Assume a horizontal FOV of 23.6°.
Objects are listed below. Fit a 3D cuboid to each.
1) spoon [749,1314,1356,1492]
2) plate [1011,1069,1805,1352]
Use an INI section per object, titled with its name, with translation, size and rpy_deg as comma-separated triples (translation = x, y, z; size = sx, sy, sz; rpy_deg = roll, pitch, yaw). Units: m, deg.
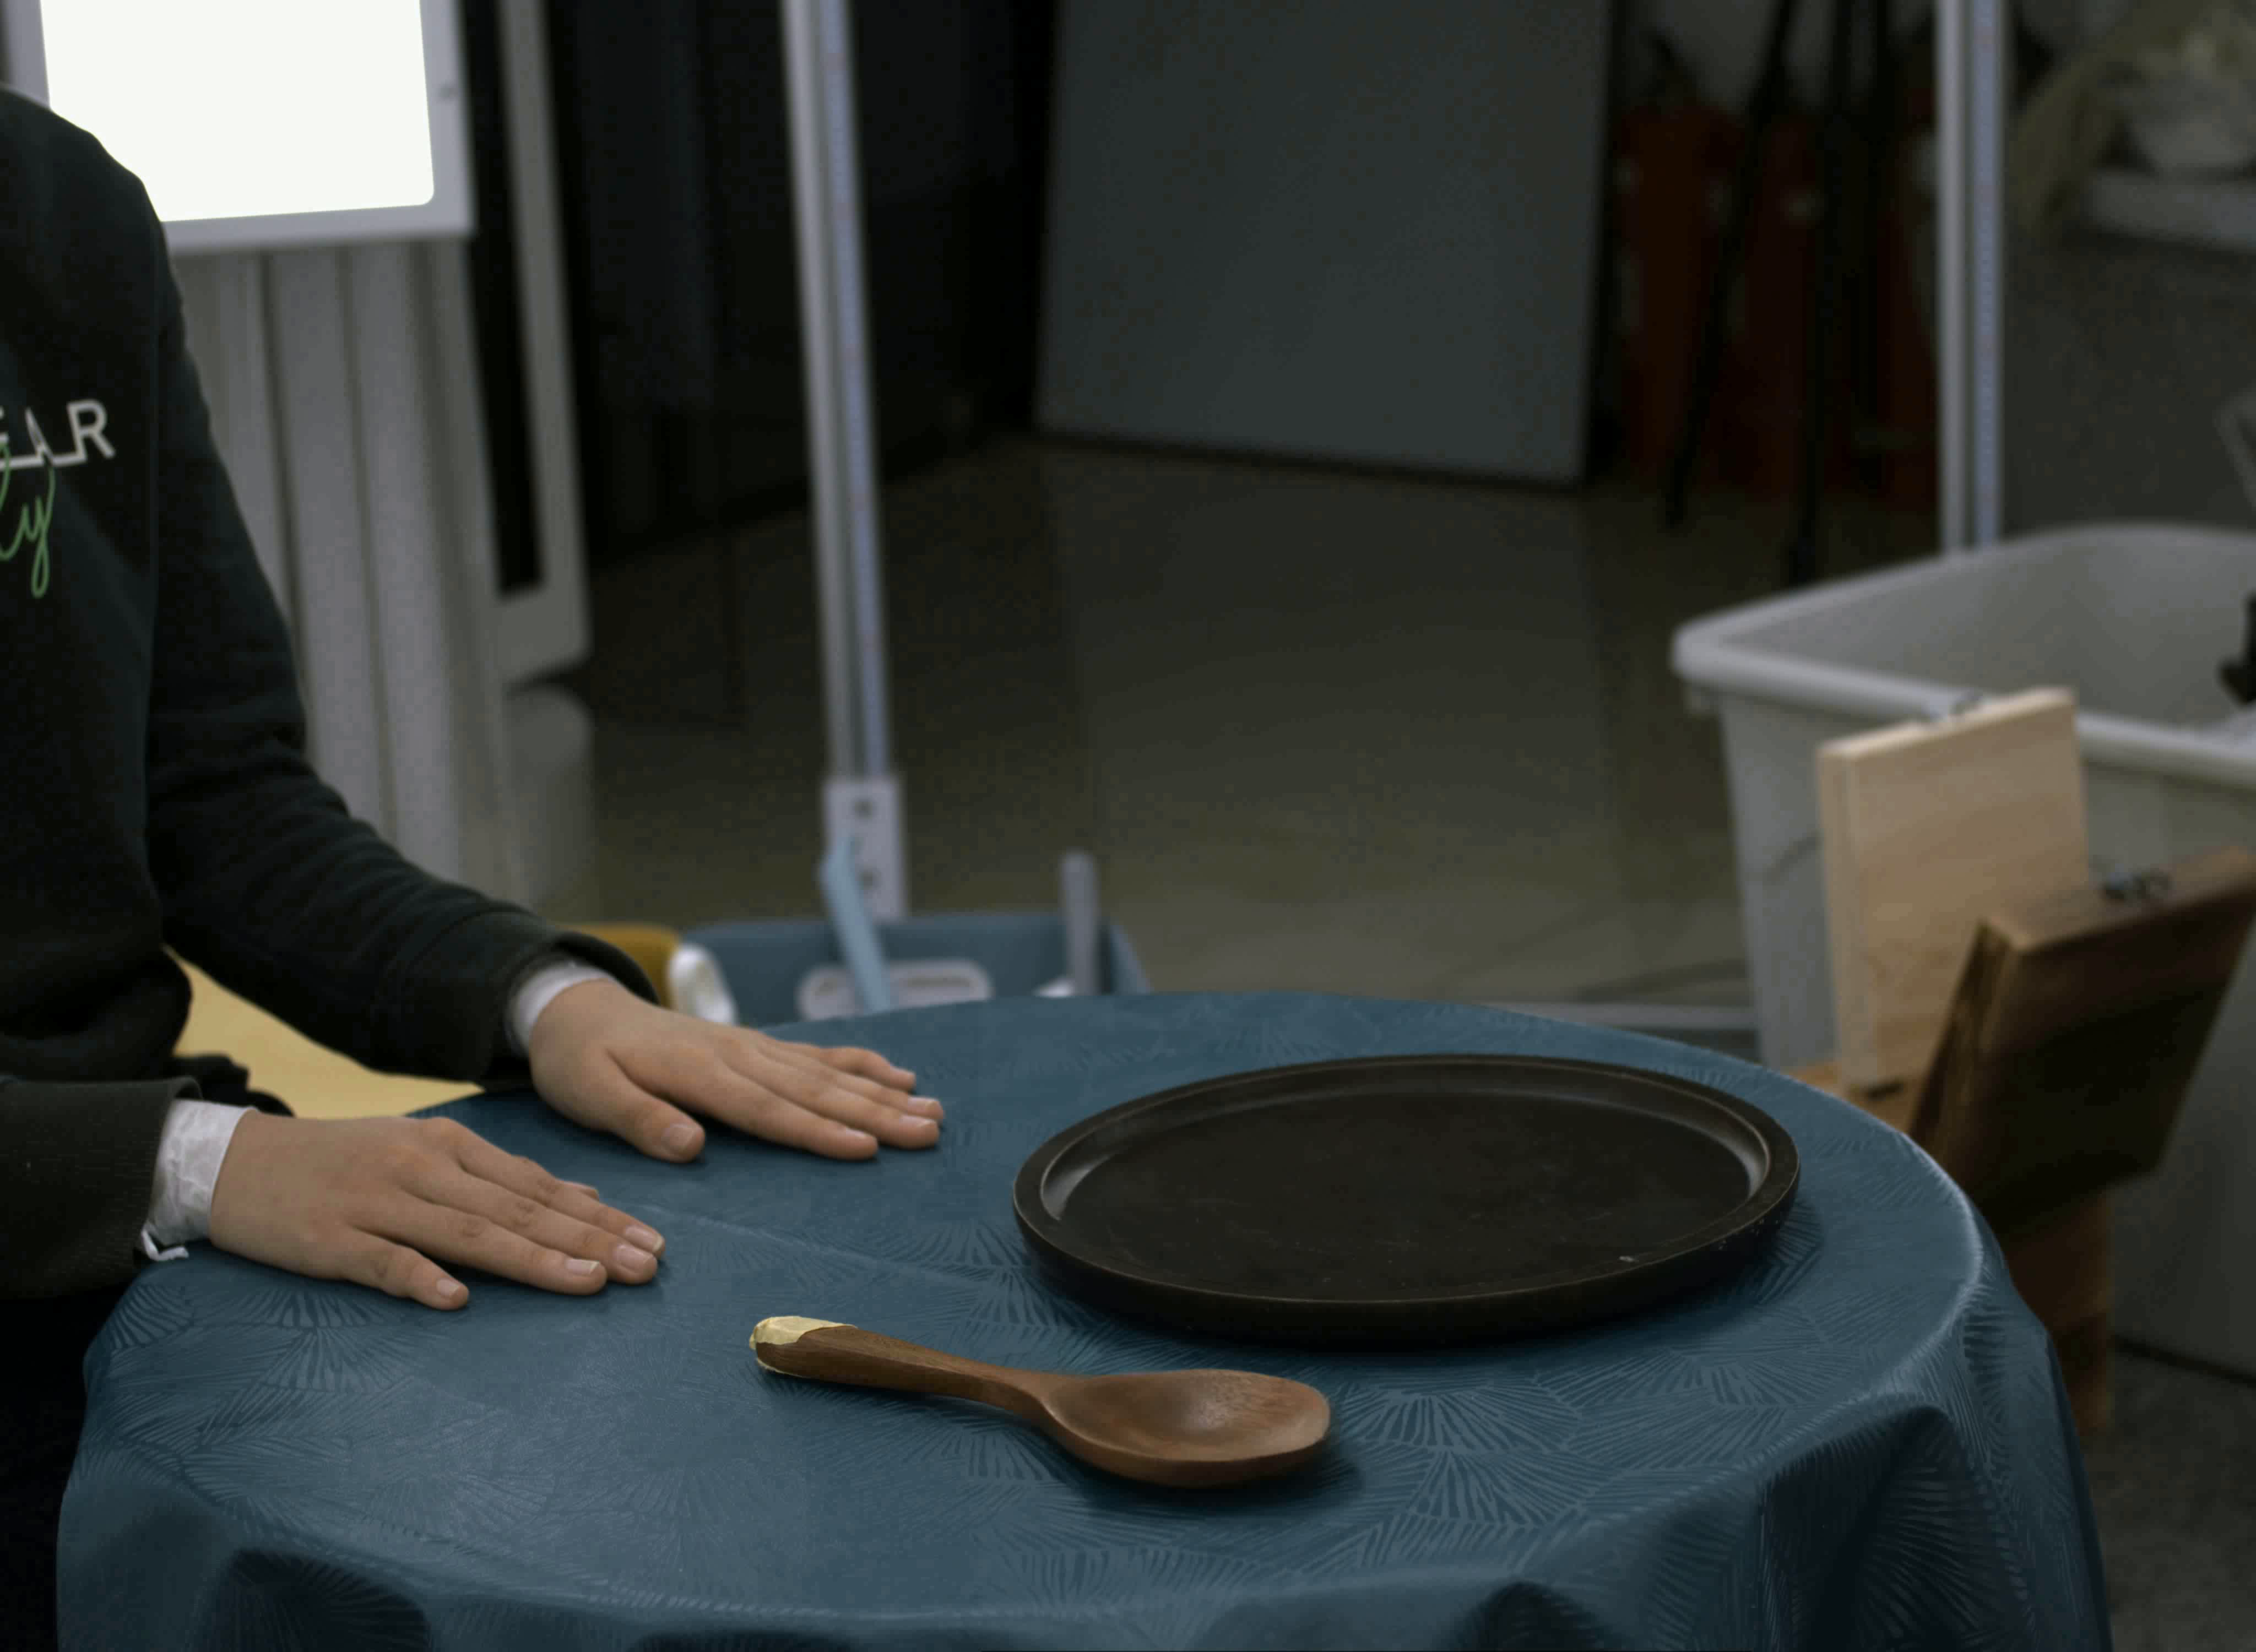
[spoon]
translation = -0.026, 0.166, 1.562
size = 0.217, 0.017, 0.074
rpy_deg = 8, 18, 39
[plate]
translation = 0.089, 0.119, 1.709
size = 0.251, 0.029, 0.255
rpy_deg = -3, 14, 0
